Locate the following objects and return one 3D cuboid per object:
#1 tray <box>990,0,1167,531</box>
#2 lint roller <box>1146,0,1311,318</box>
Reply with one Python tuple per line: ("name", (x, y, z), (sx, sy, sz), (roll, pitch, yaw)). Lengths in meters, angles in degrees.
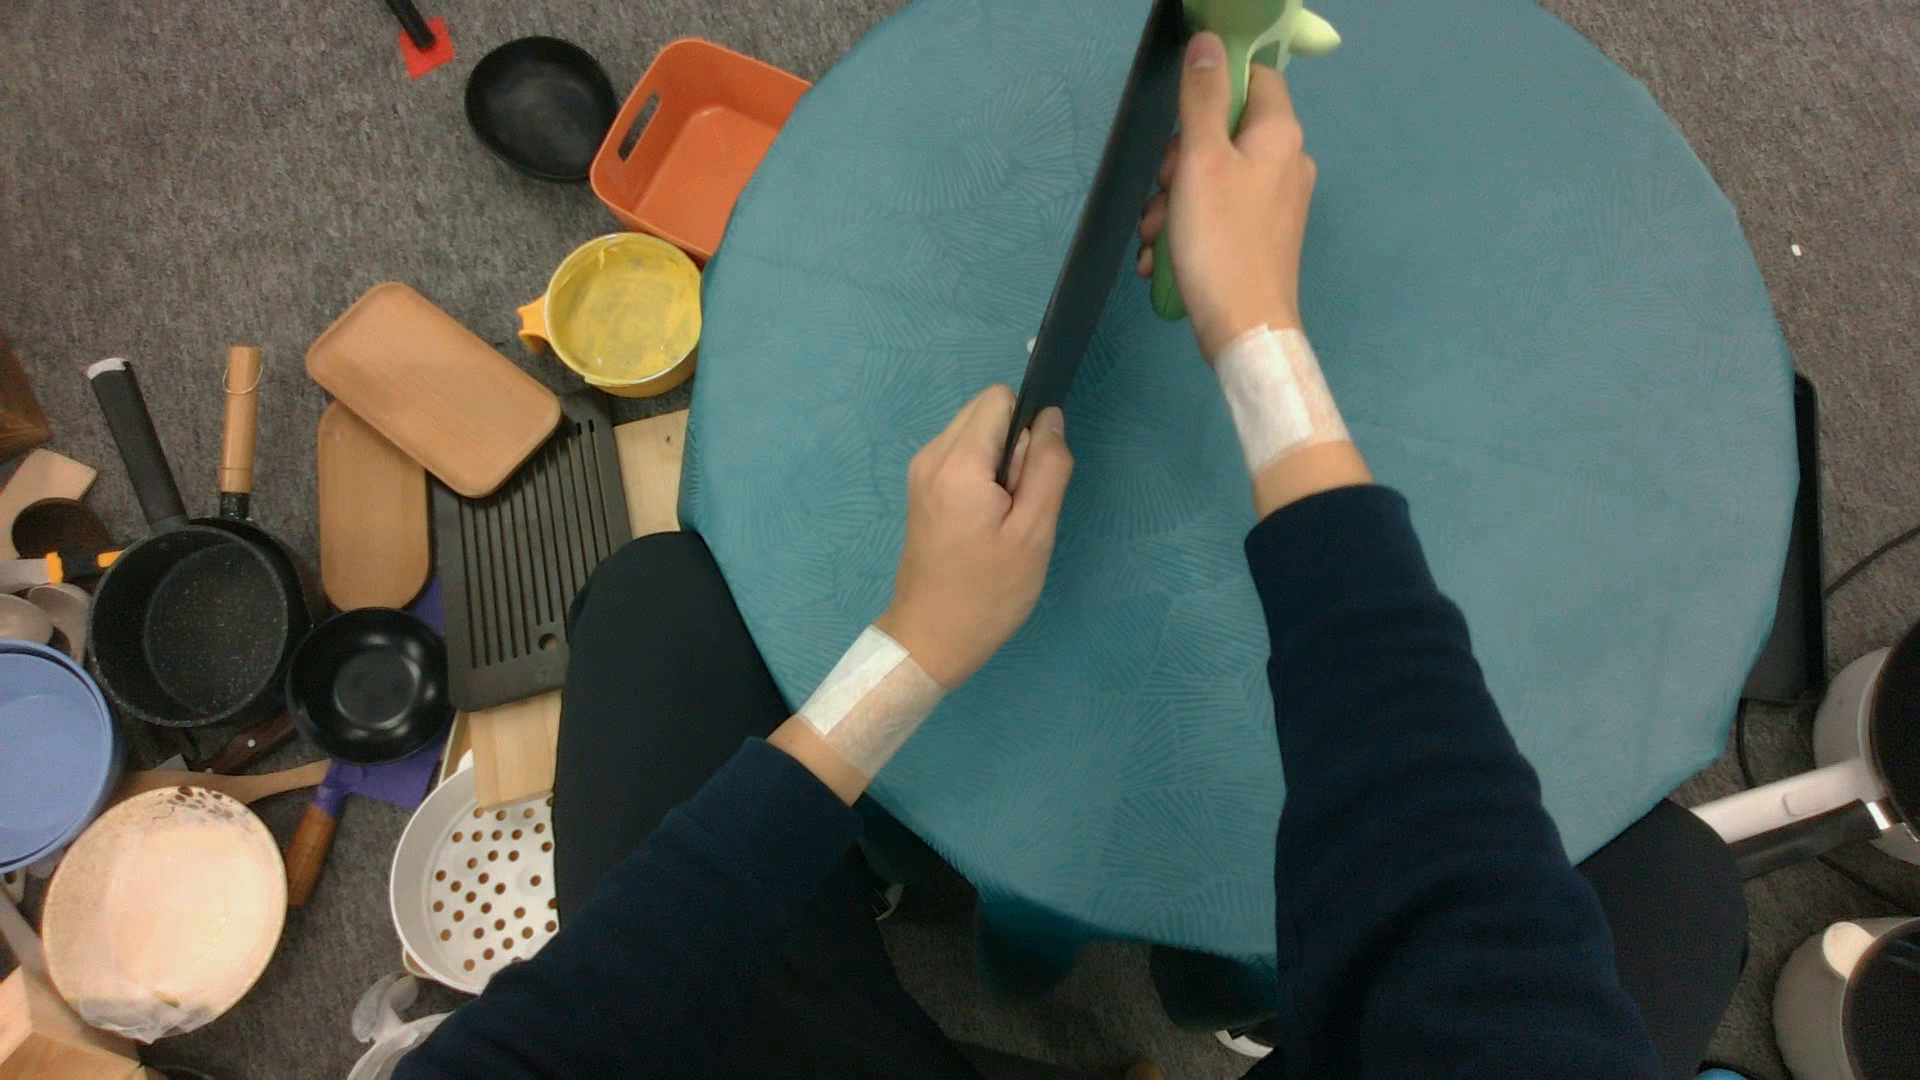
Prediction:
("tray", (0.061, -0.162, 0.660), (0.010, 0.210, 0.326), (16, 76, 8))
("lint roller", (0.121, -0.193, 0.614), (0.082, 0.199, 0.183), (-2, 95, 11))
